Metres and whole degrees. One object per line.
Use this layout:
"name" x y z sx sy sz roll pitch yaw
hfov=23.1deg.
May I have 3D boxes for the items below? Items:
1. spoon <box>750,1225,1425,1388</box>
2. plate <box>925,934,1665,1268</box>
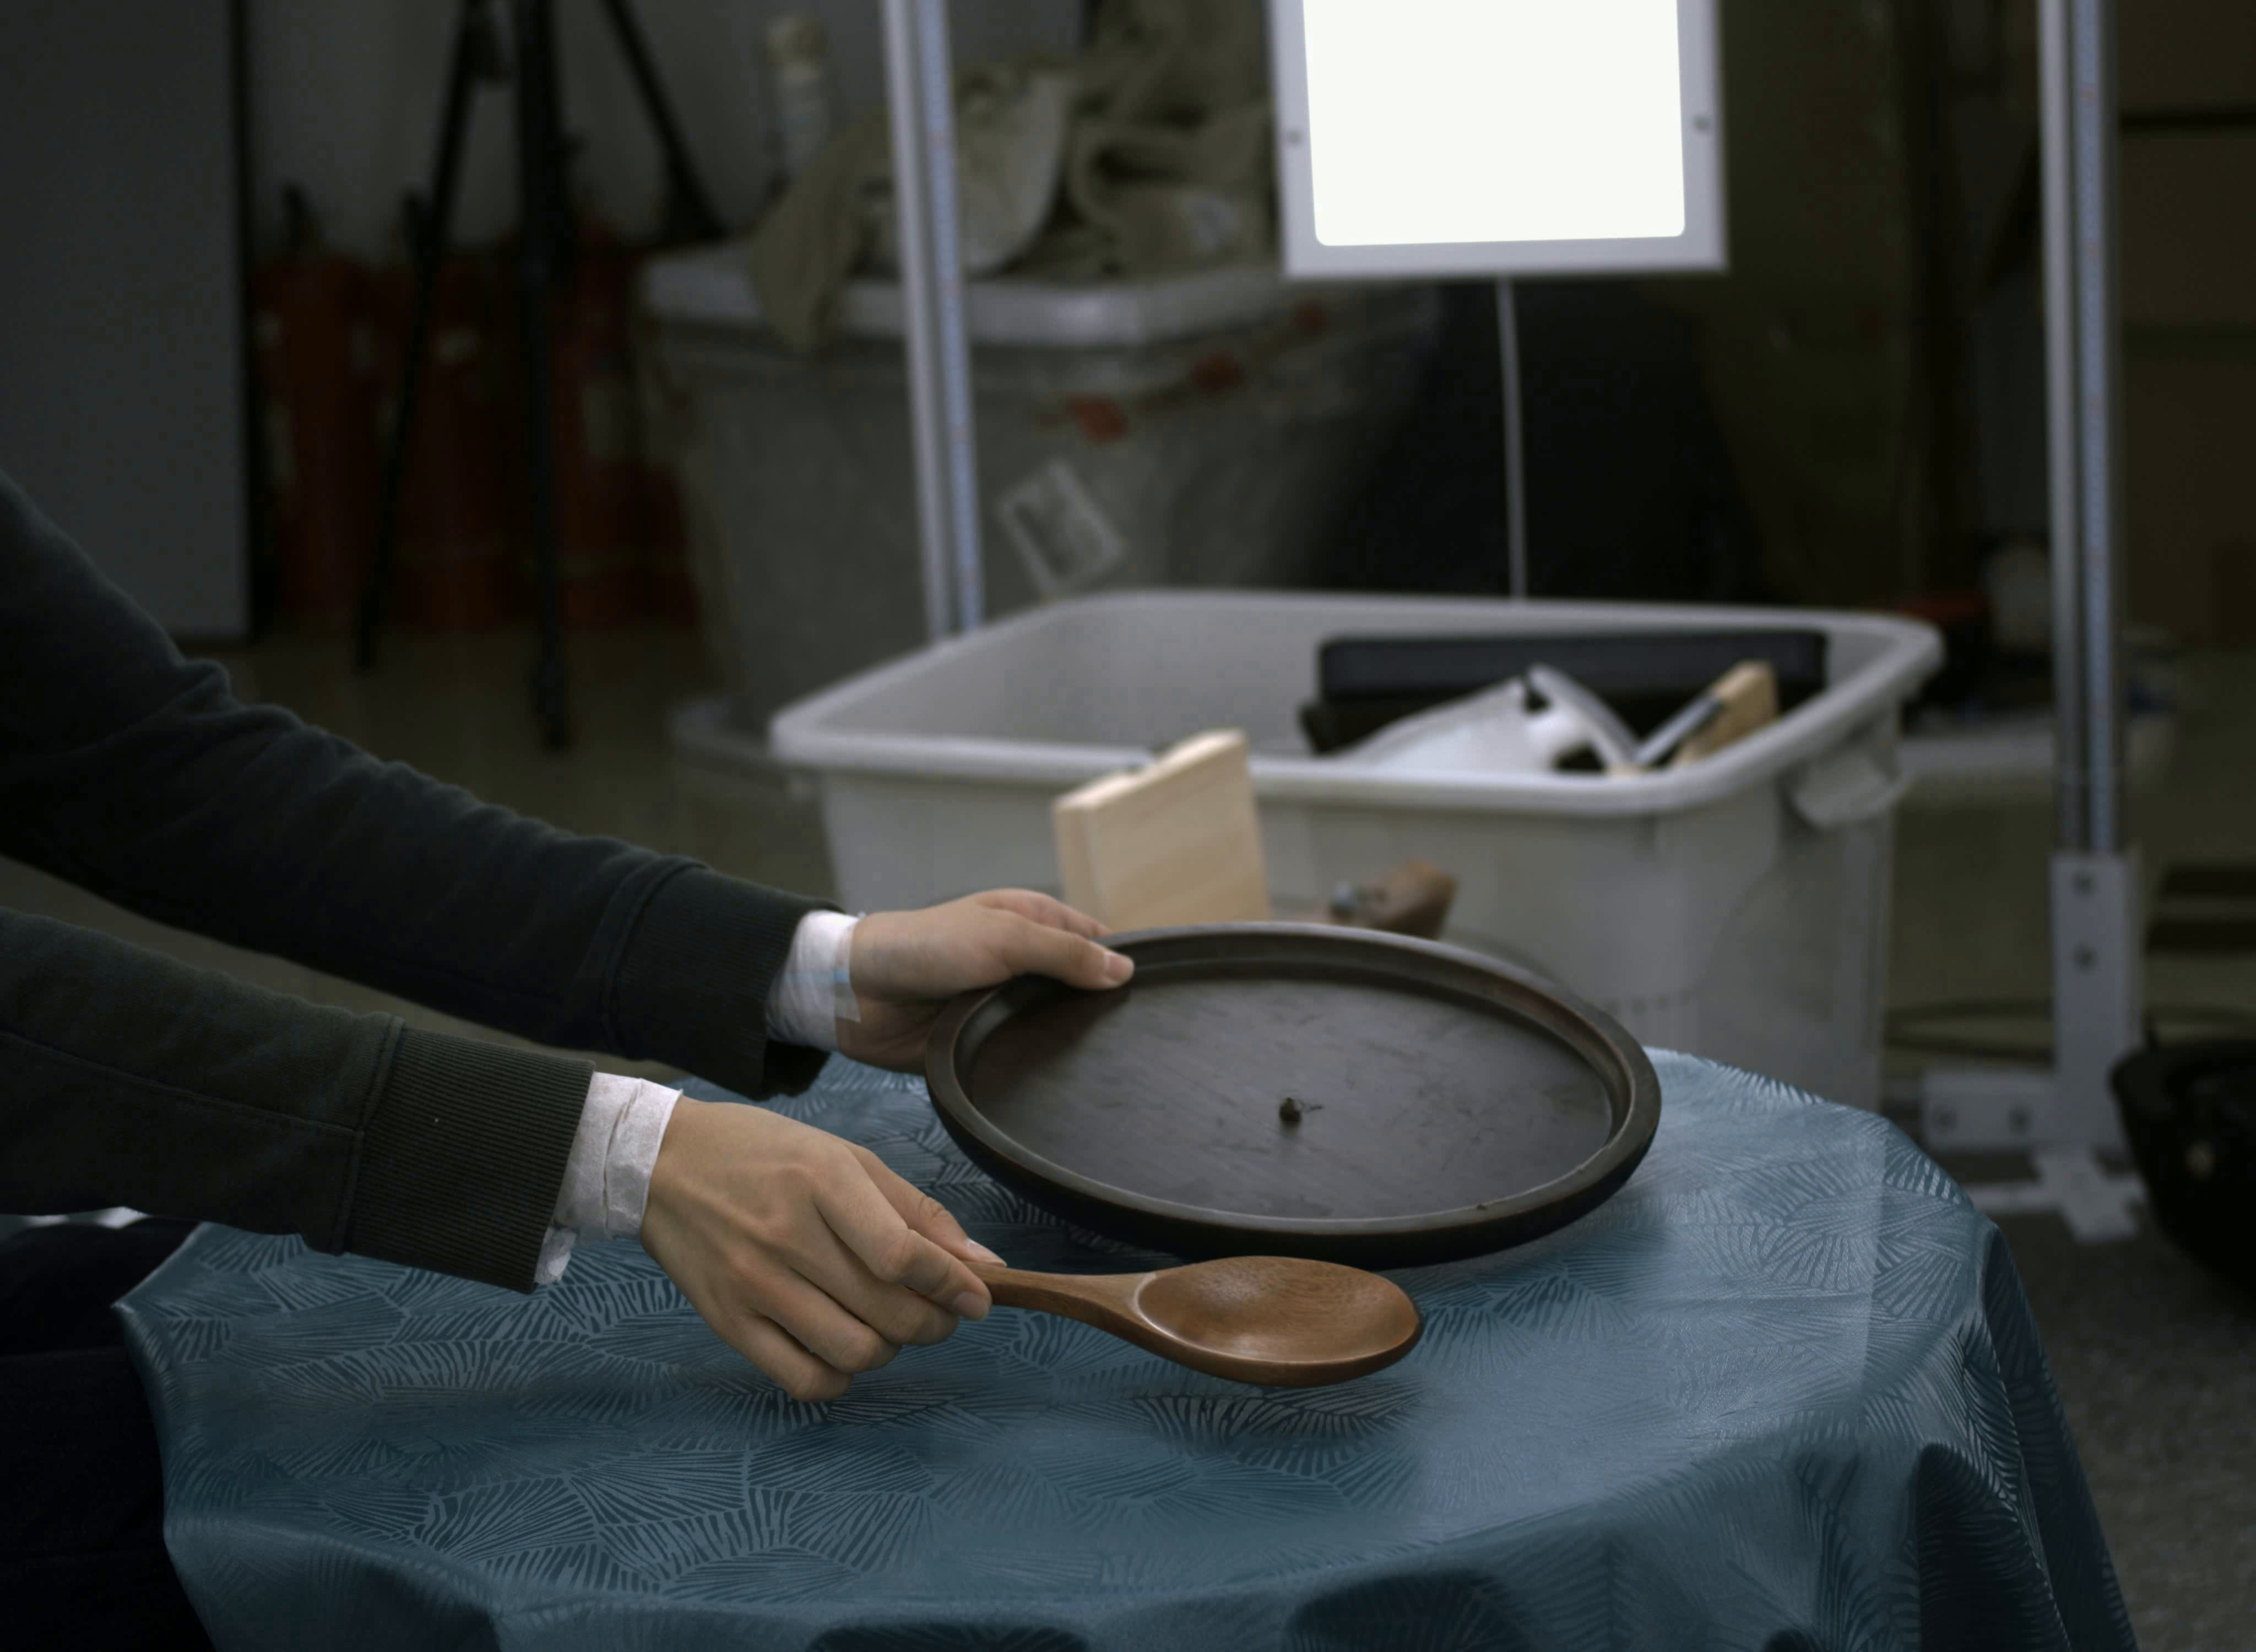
"spoon" -0.014 0.145 1.696 0.218 0.017 0.074 7 24 18
"plate" 0.056 0.091 1.876 0.253 0.029 0.254 2 21 -2
